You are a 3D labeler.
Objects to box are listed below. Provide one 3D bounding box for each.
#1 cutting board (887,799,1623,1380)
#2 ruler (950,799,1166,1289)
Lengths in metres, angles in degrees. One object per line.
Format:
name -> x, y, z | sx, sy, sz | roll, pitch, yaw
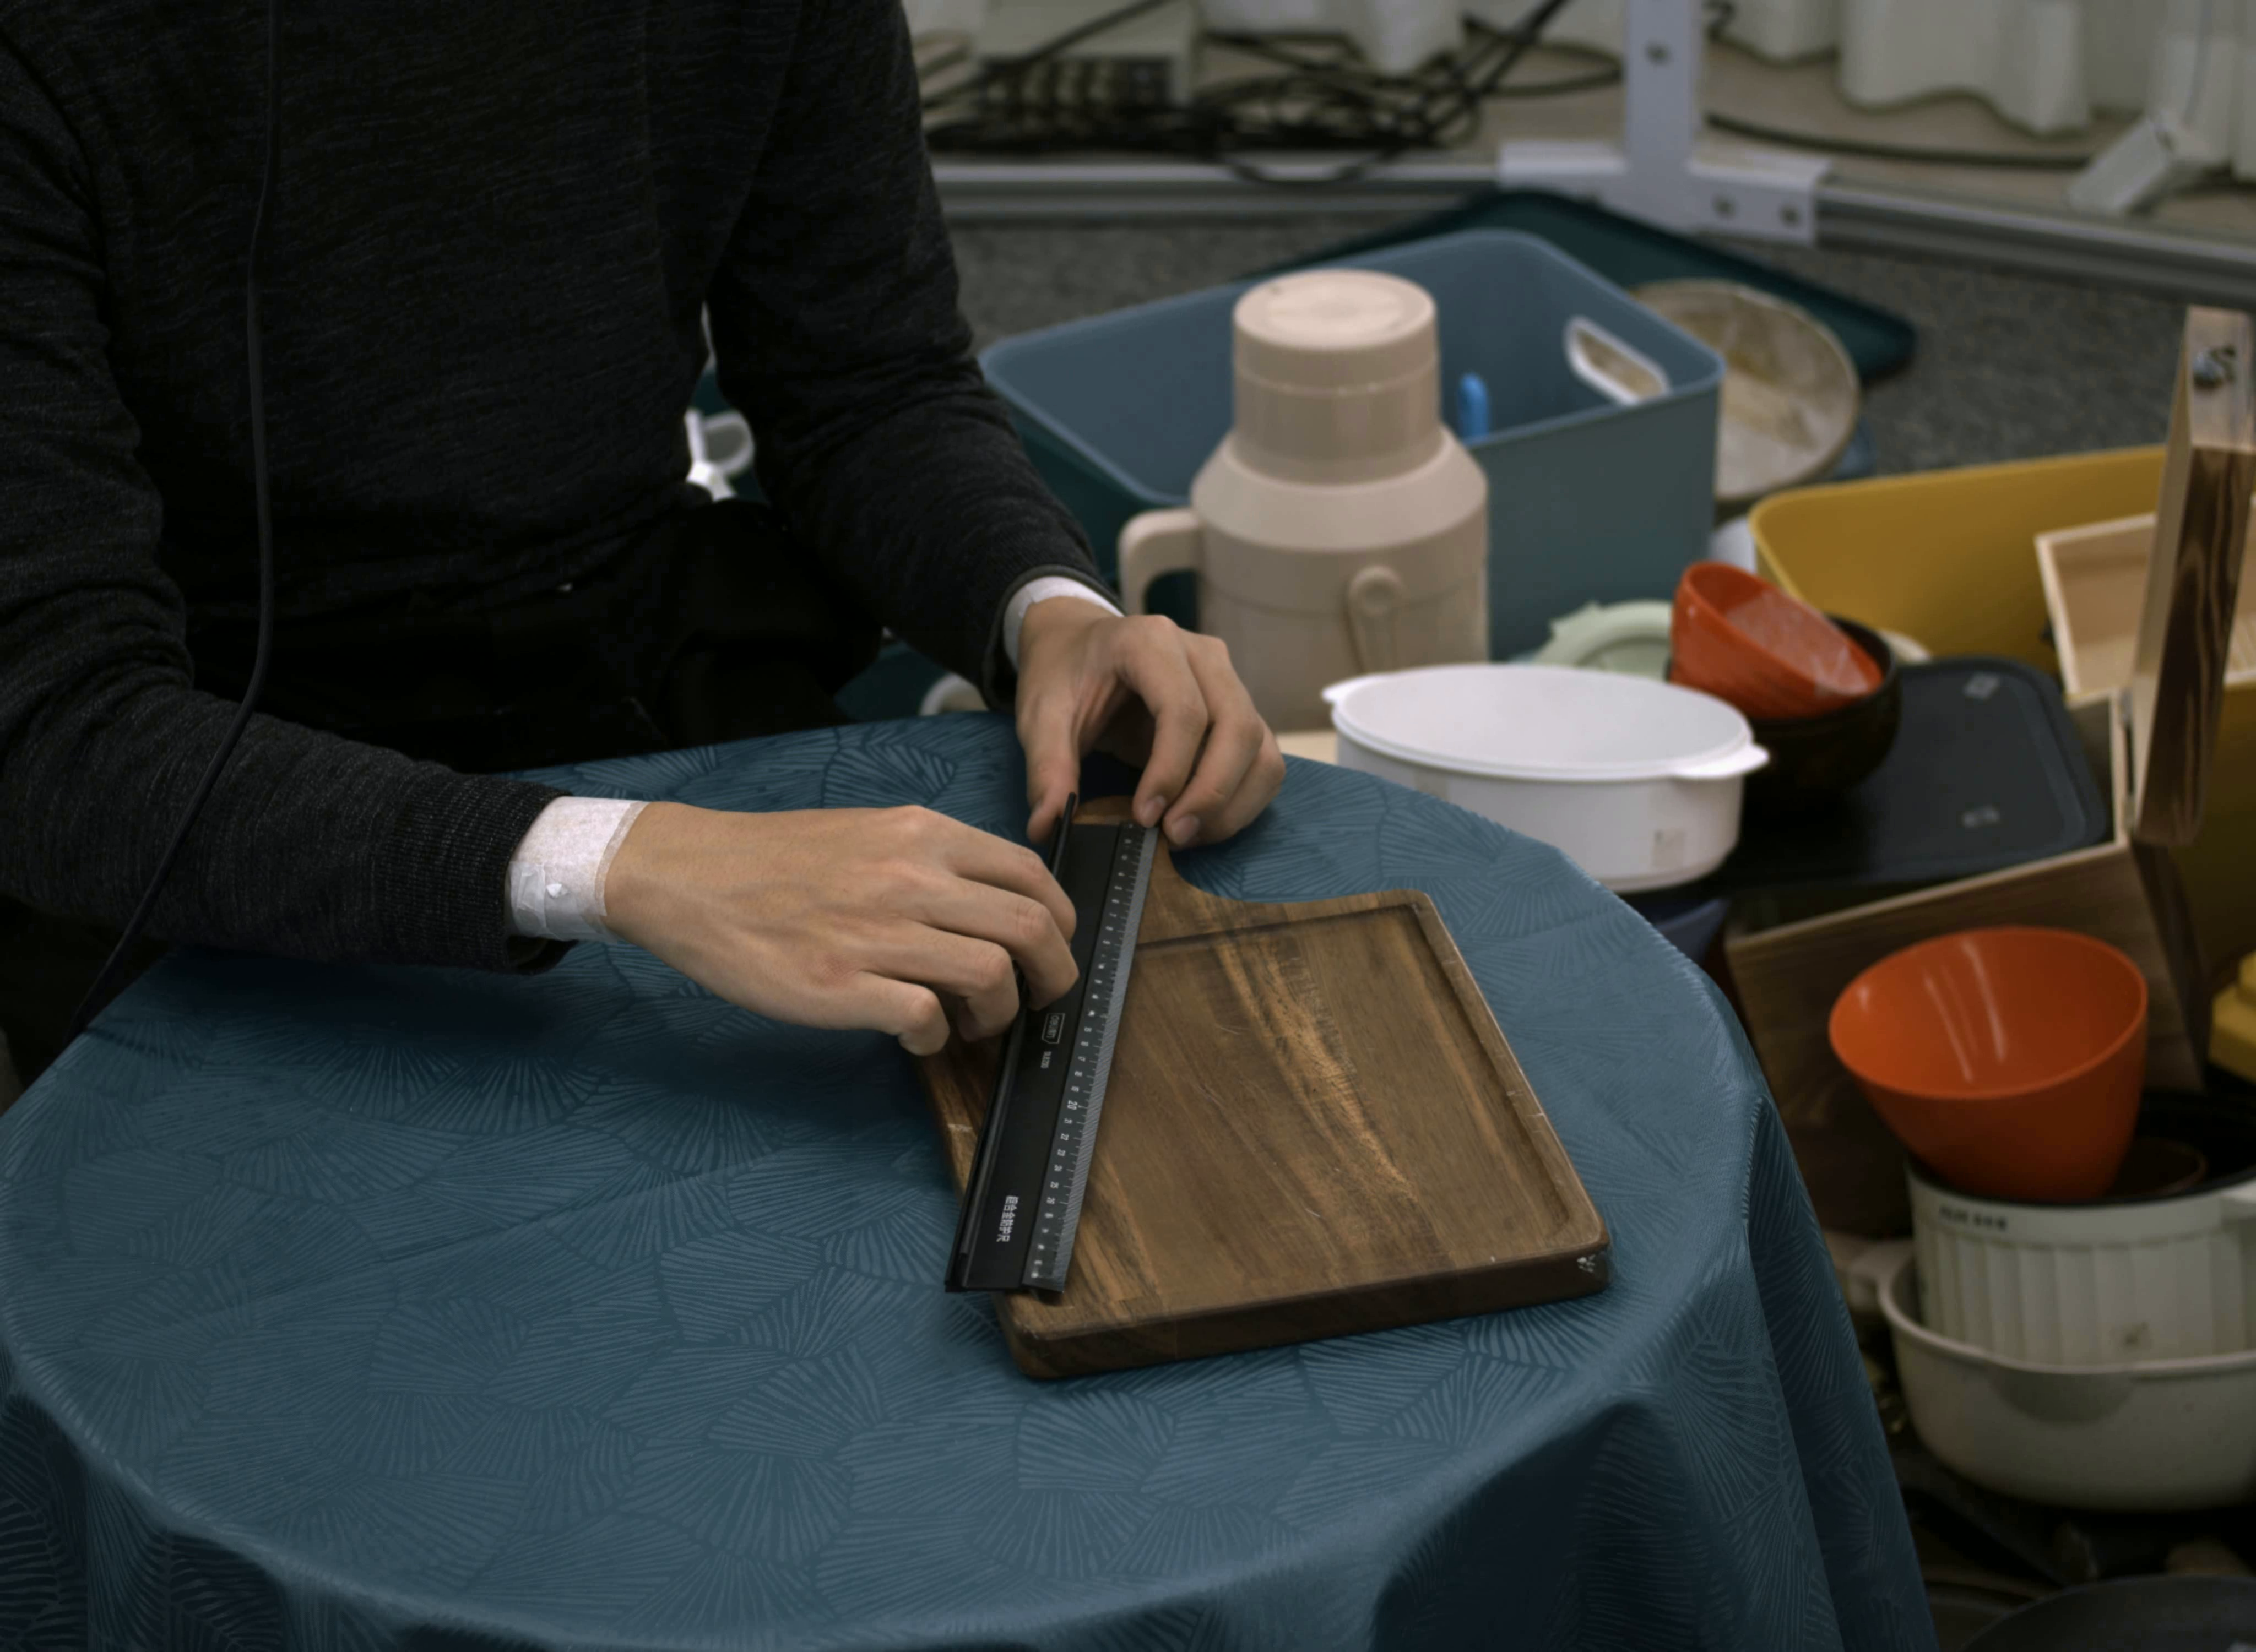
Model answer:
cutting board -> 0.027, 0.076, 1.924 | 0.201, 0.023, 0.356 | -8, 27, -9
ruler -> -0.022, 0.068, 1.907 | 0.039, 0.017, 0.317 | 2, 28, 6
